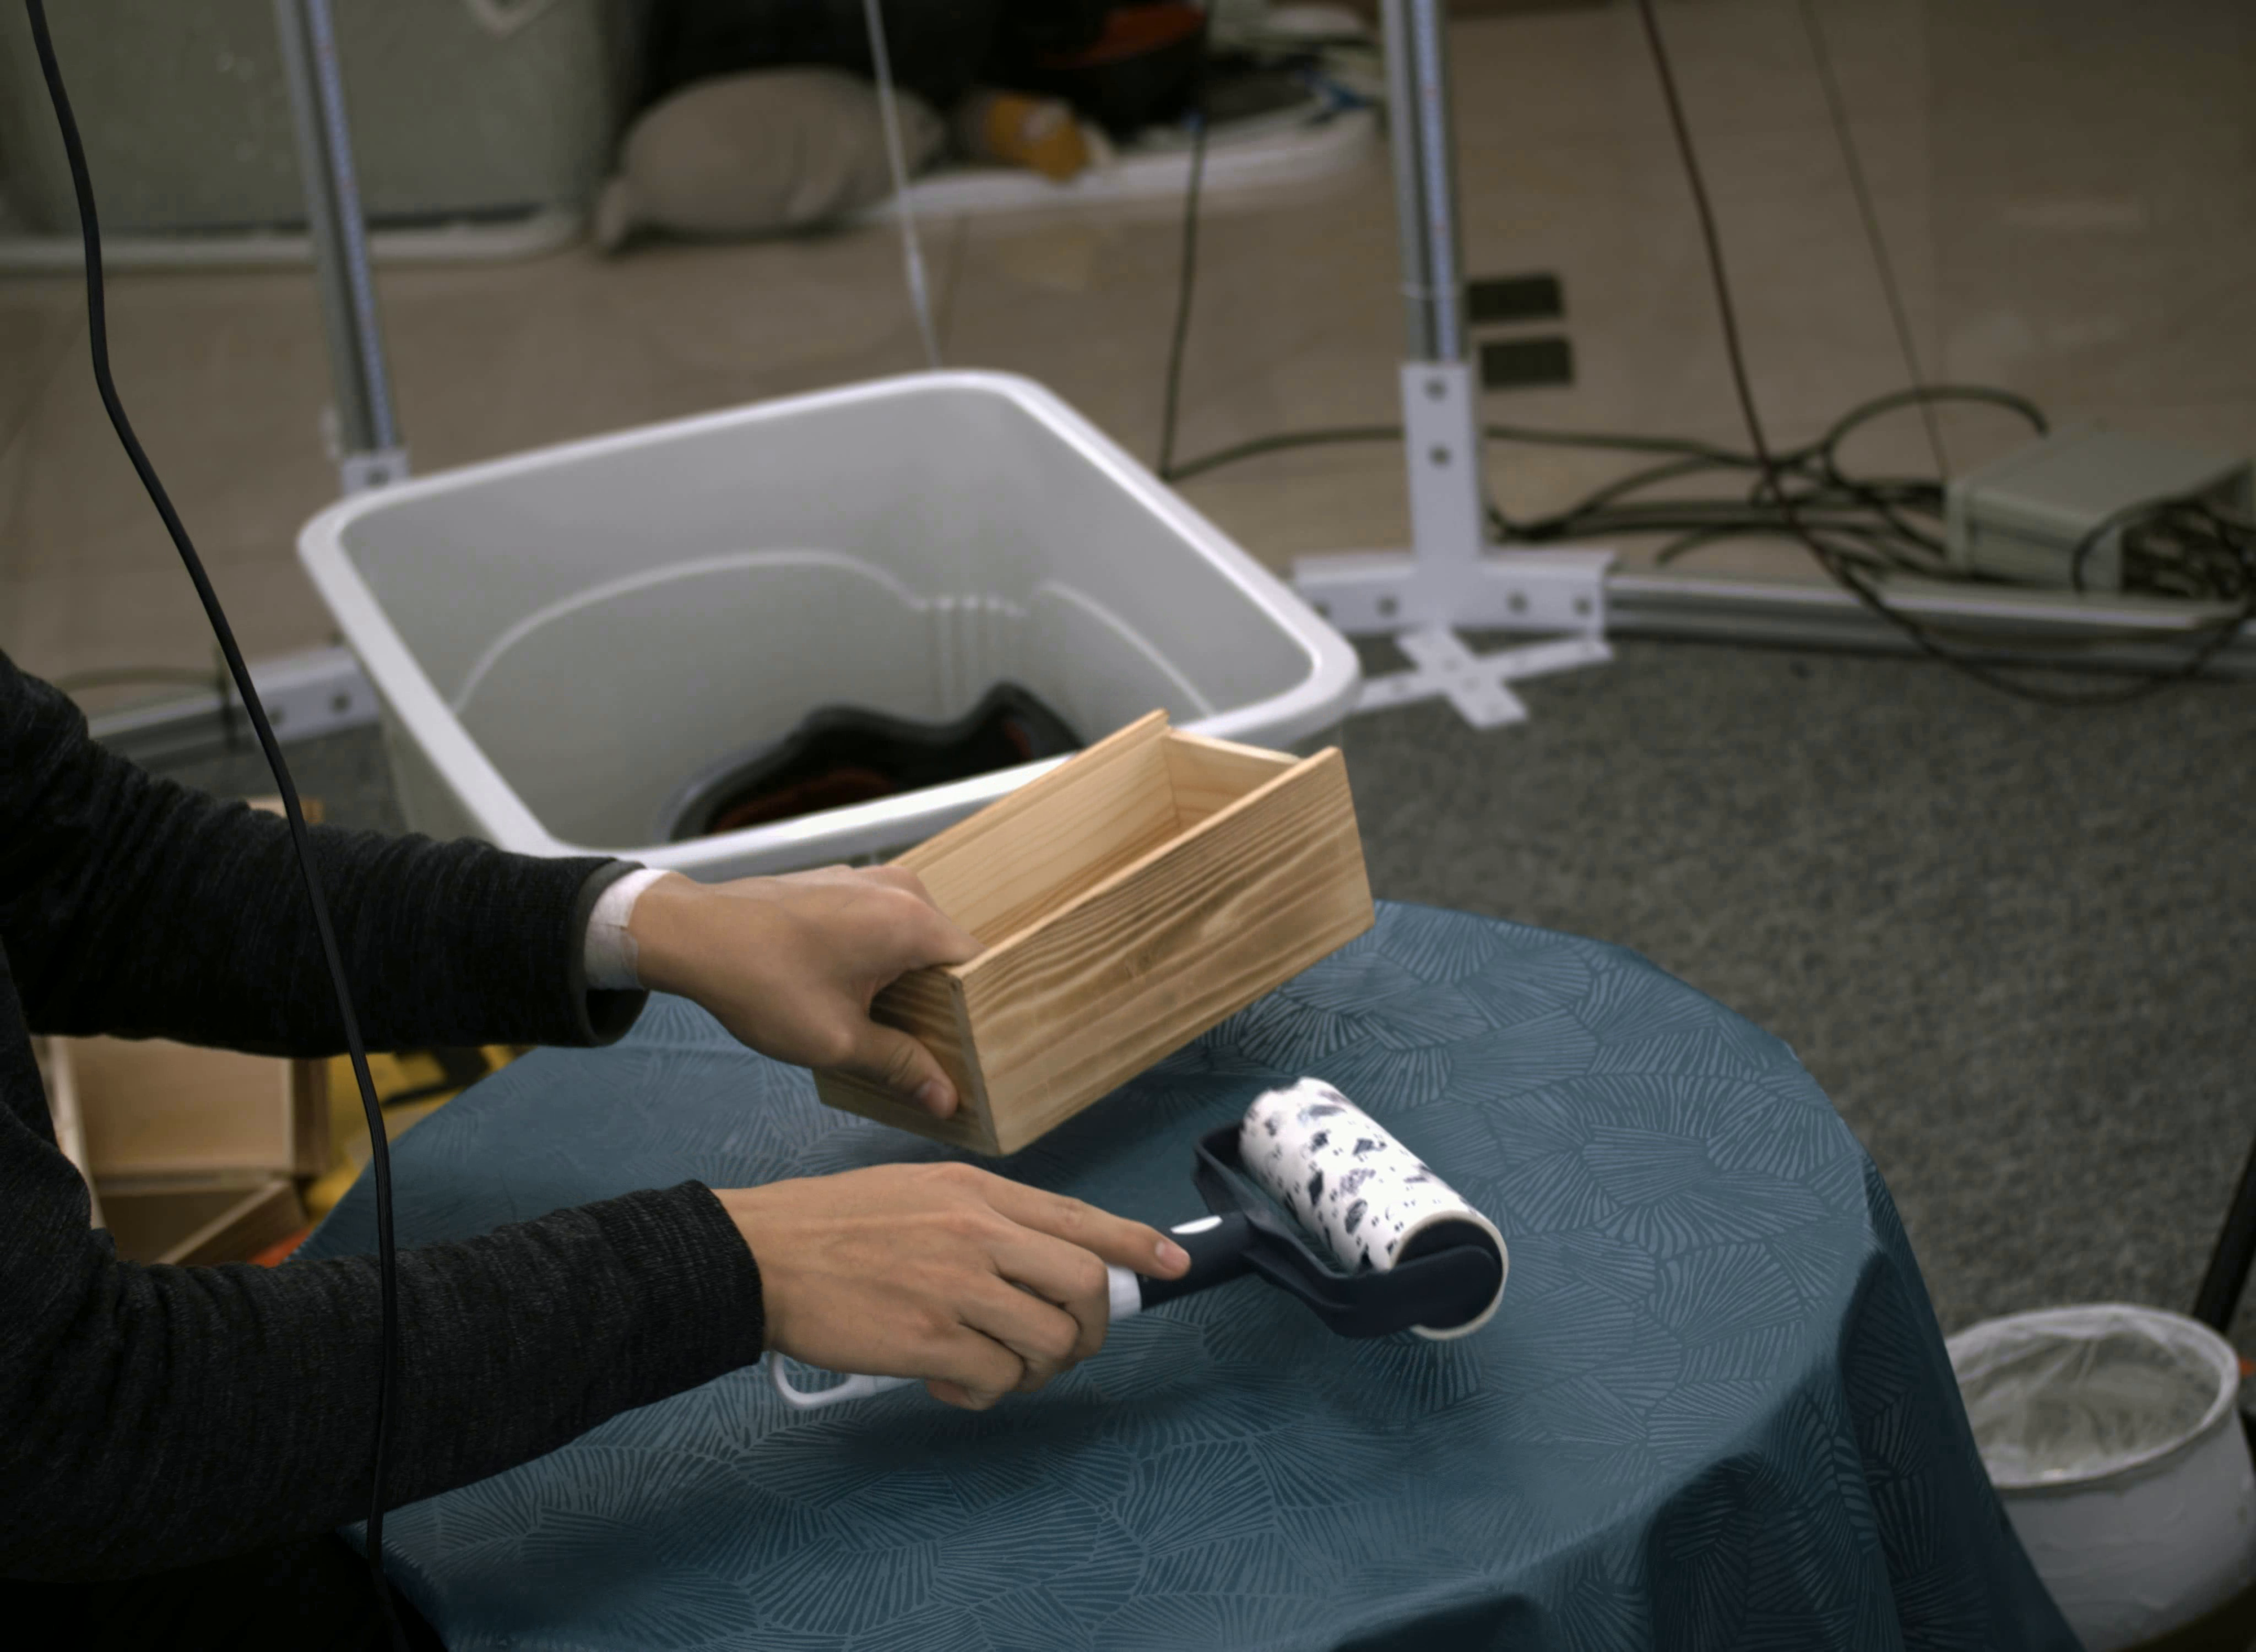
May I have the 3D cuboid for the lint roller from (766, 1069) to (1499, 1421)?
[{"bbox_3d":[-0.010,0.157,1.999,0.246,0.051,0.174,-14,20,-15],"label":"lint roller"}]

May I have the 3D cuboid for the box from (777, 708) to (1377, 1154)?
[{"bbox_3d":[-0.018,0.038,2.205,0.209,0.081,0.107,-31,30,-35],"label":"box"}]
